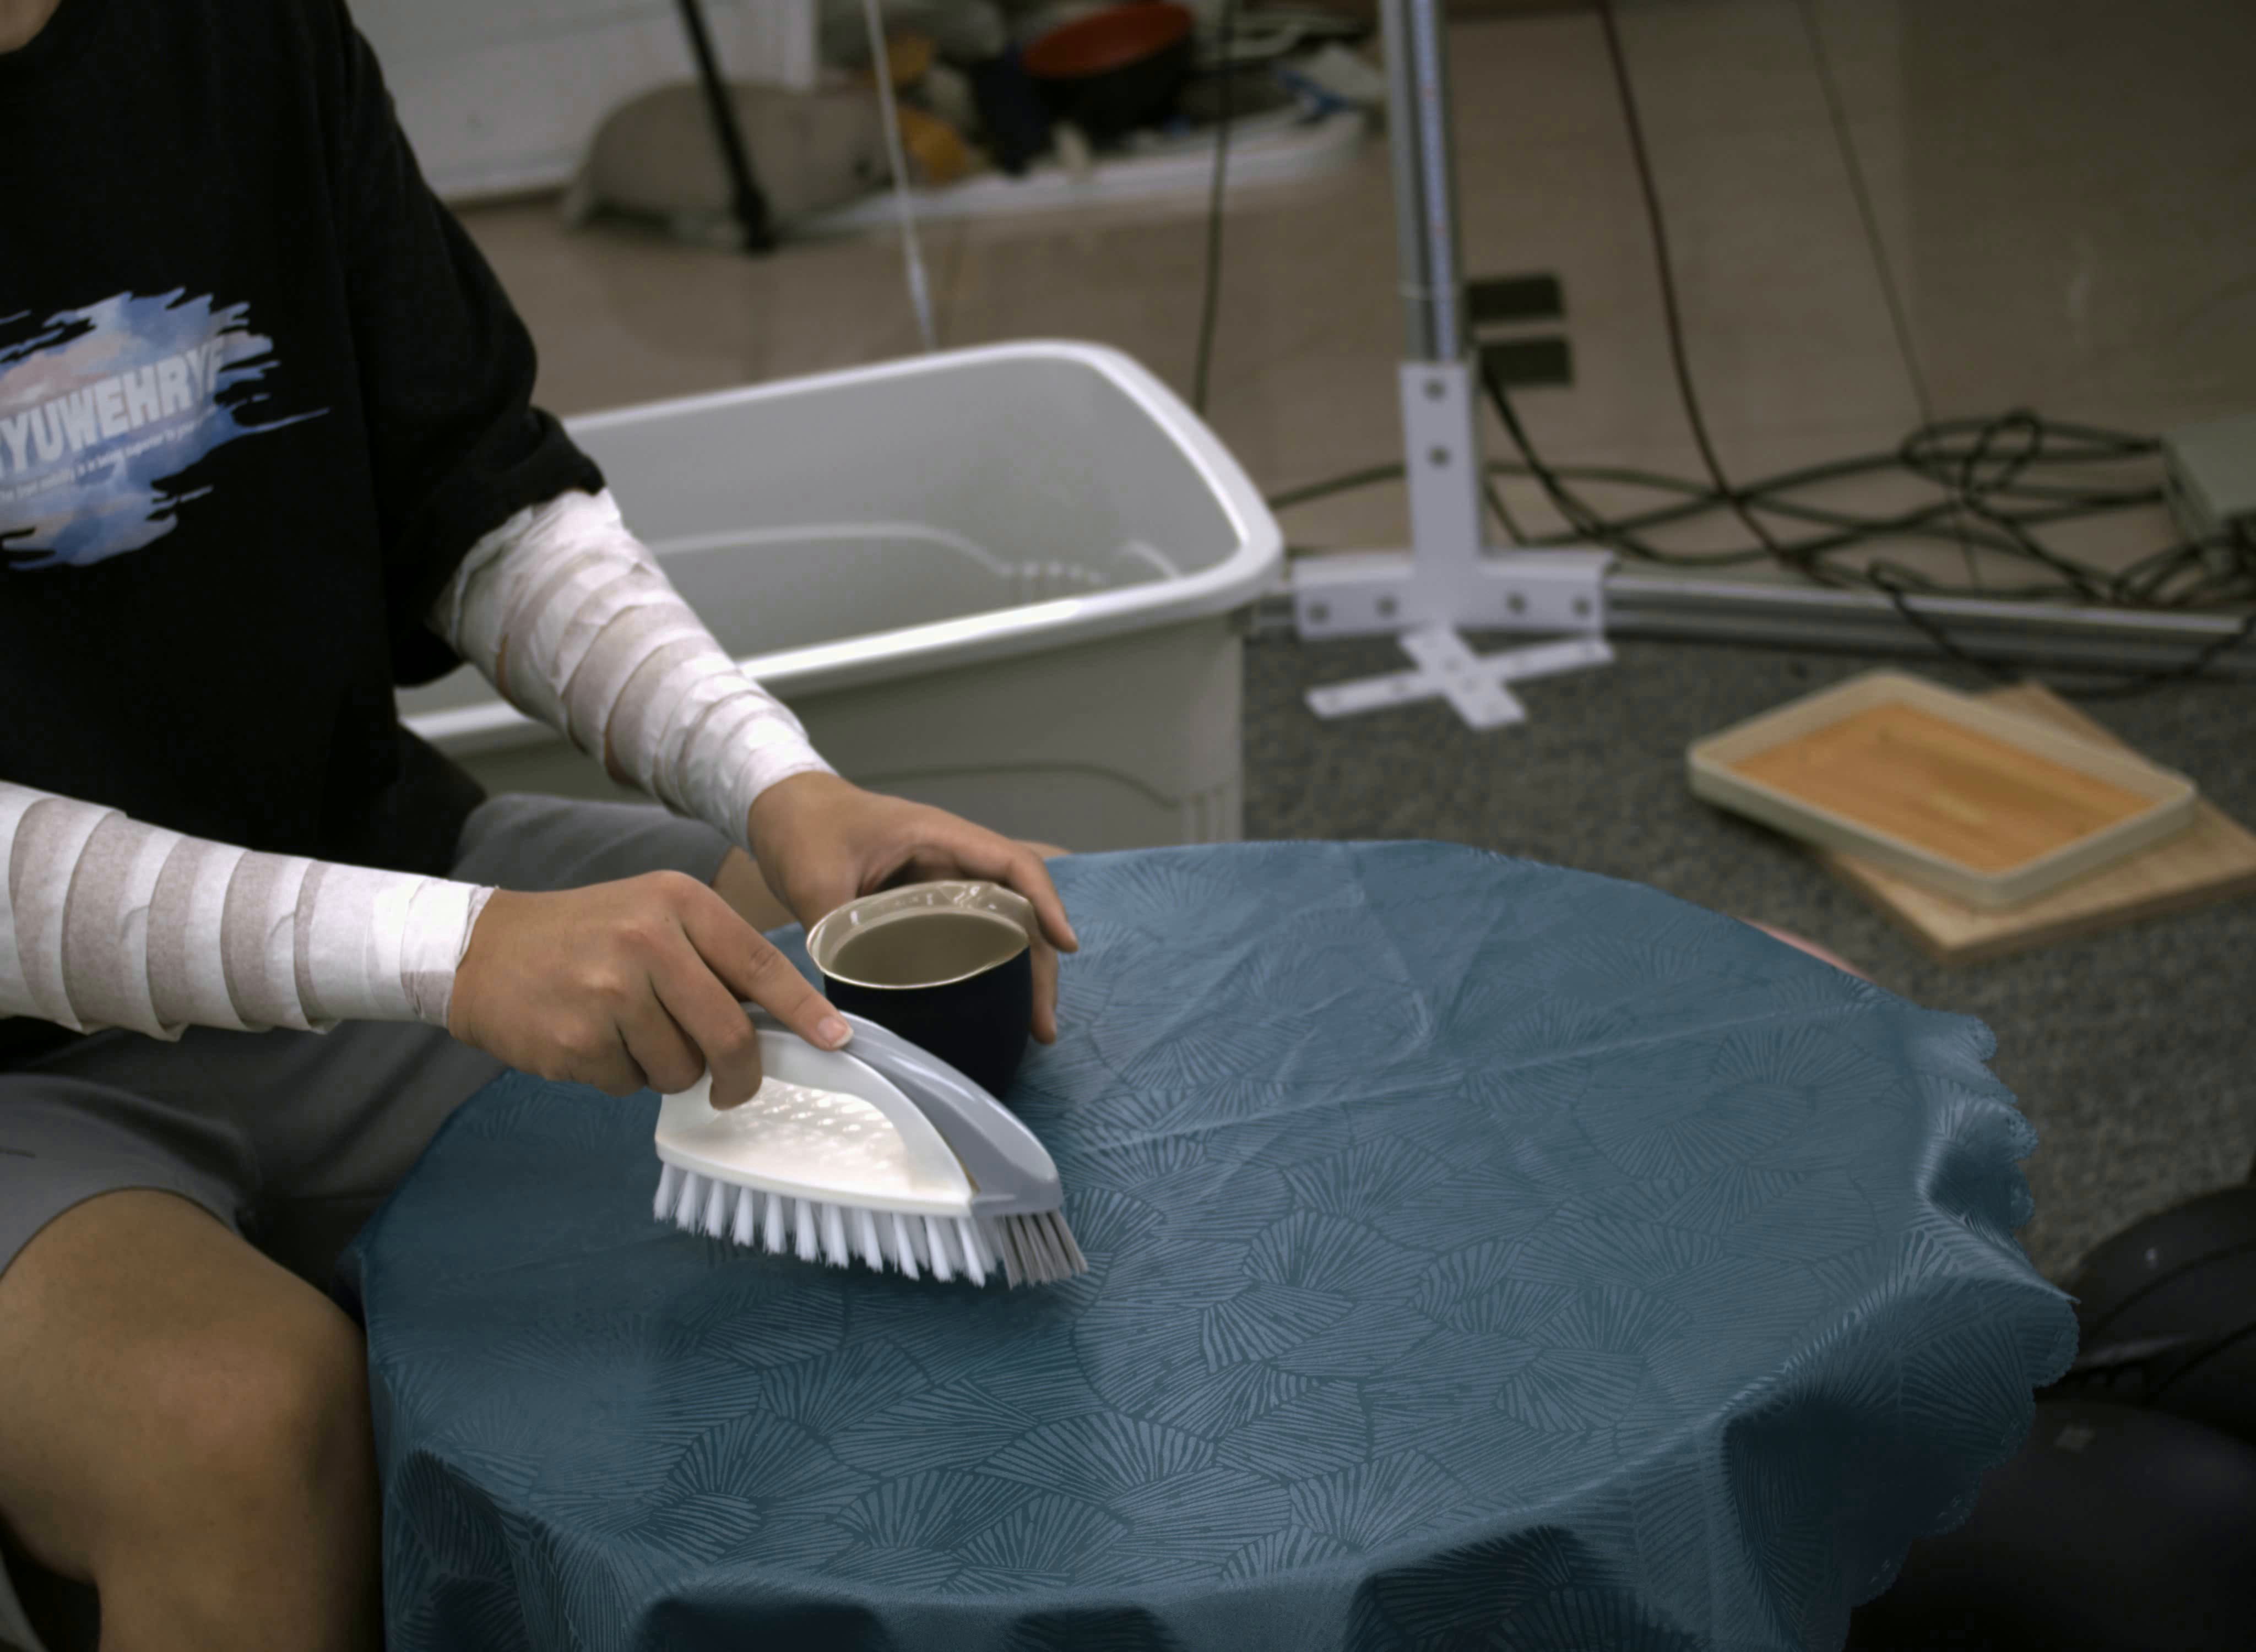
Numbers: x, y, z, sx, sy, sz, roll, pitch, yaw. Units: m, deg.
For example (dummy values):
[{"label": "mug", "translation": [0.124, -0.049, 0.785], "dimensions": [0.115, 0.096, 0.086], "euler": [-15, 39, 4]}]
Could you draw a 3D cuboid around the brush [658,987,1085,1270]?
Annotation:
[{"label": "brush", "translation": [-0.096, 0.108, 2.087], "dimensions": [0.174, 0.096, 0.060], "euler": [14, 39, 27]}]

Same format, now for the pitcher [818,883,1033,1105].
[{"label": "pitcher", "translation": [-0.075, 0.072, 2.224], "dimensions": [0.083, 0.072, 0.095], "euler": [3, 23, 22]}]
